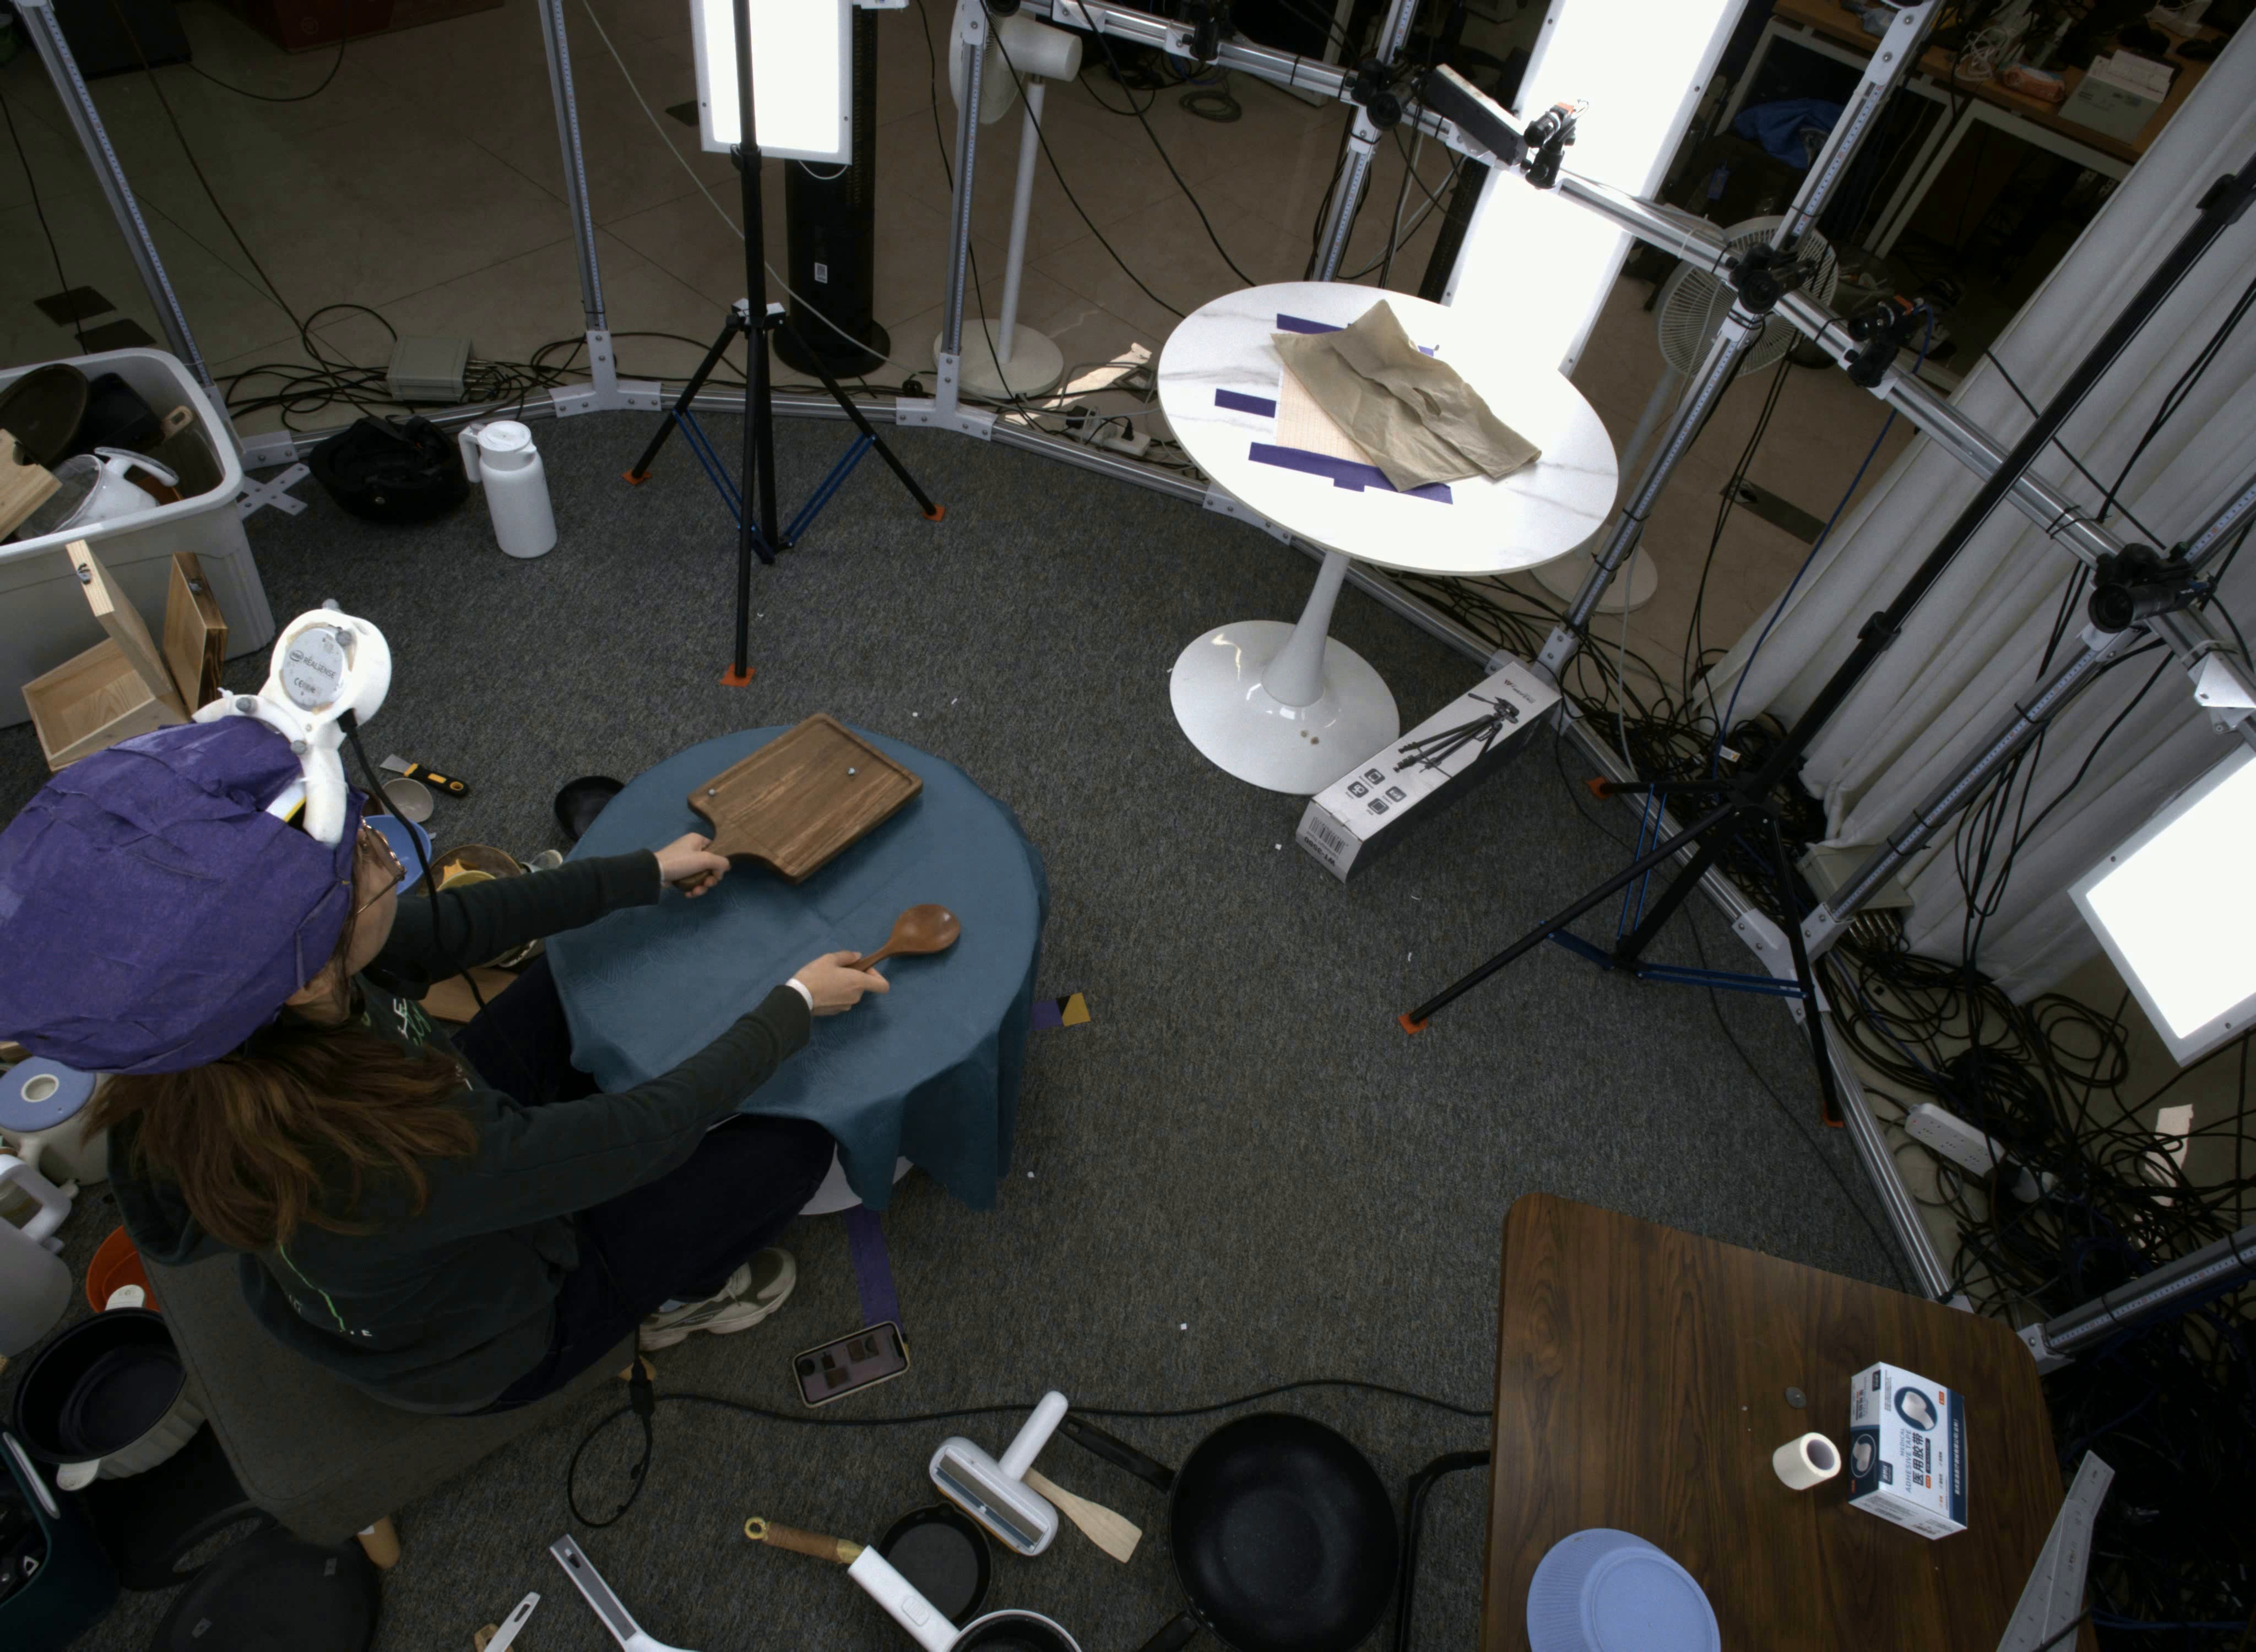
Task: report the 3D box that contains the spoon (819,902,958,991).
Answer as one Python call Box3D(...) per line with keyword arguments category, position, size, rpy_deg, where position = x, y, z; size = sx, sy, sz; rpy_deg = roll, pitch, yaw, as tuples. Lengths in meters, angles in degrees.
Box3D(category="spoon", position=(-0.297, 0.150, 1.613), size=(0.074, 0.017, 0.217), rpy_deg=(44, 41, 15))

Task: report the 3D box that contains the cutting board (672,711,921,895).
Box3D(category="cutting board", position=(-0.454, -0.019, 1.685), size=(0.197, 0.023, 0.352), rpy_deg=(35, 47, 14))
